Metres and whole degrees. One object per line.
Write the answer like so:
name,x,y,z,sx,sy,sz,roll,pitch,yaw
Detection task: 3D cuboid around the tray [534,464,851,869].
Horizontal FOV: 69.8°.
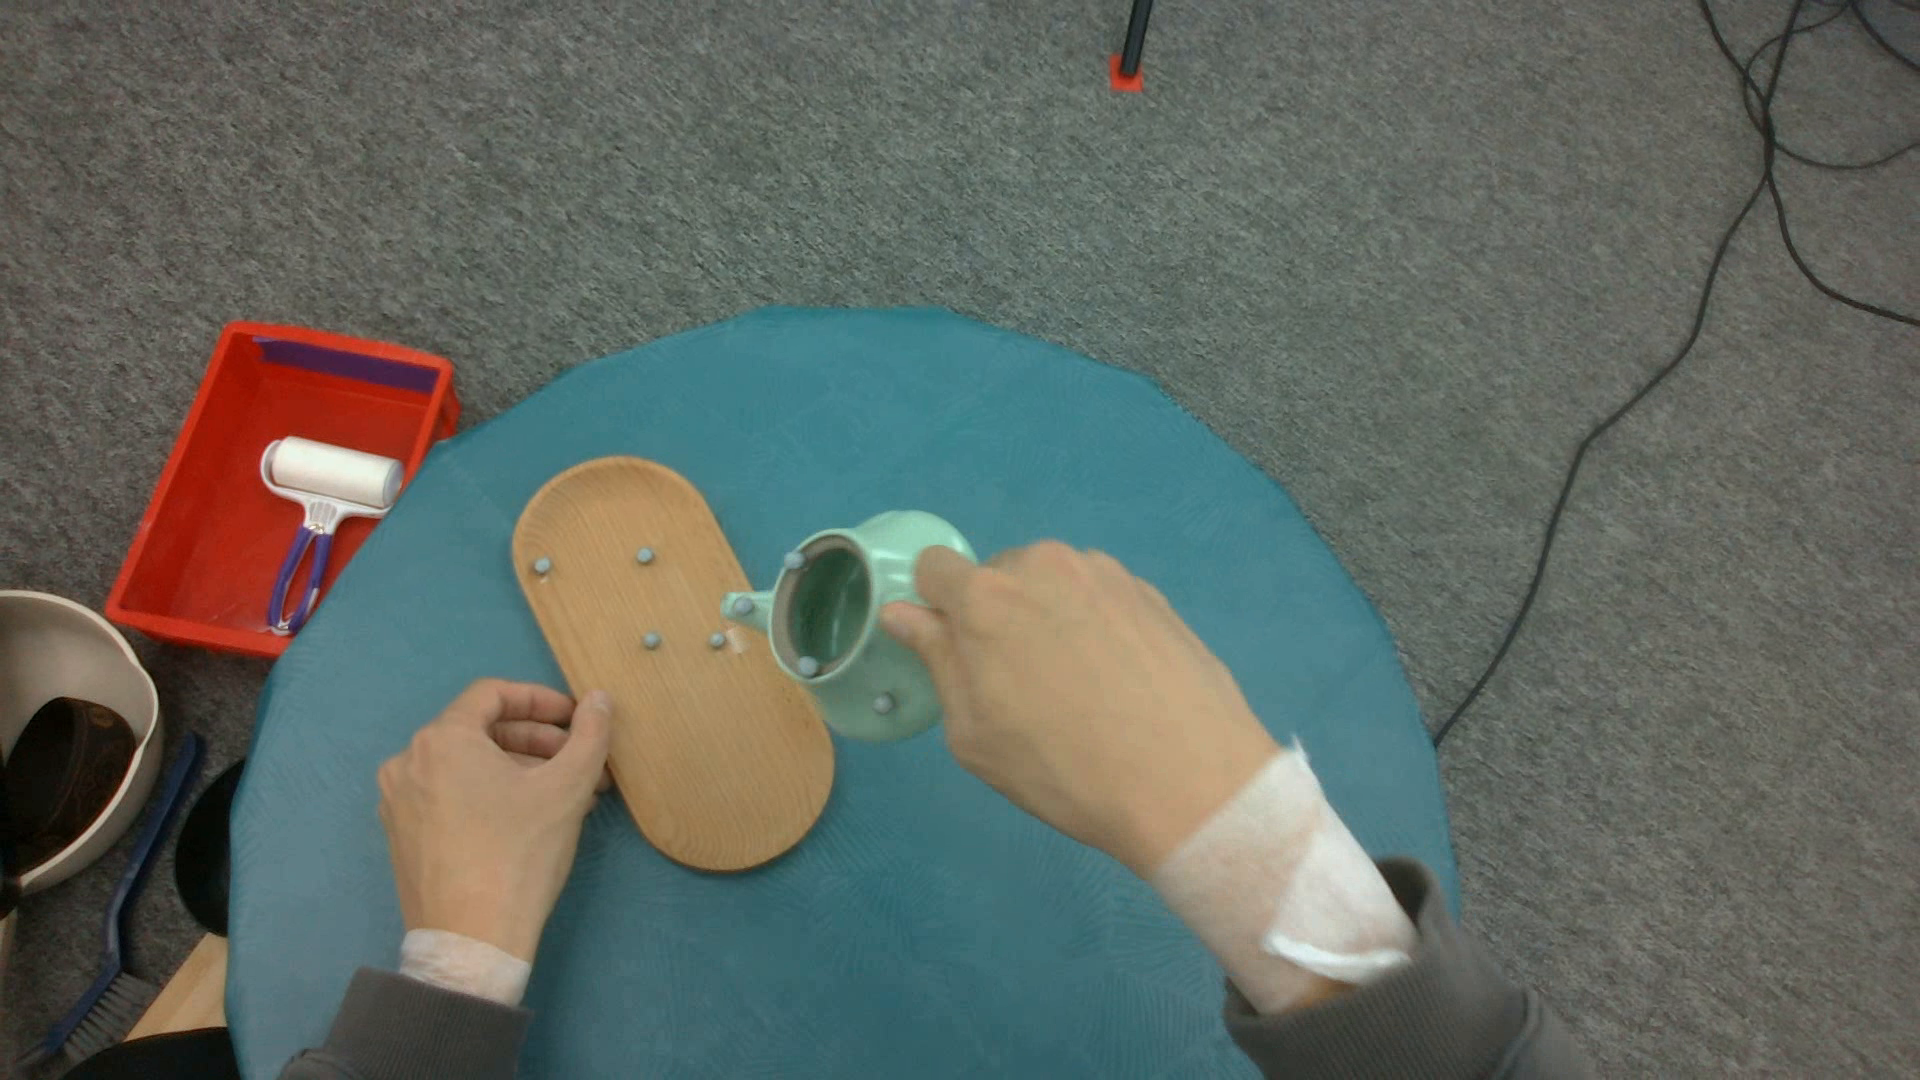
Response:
tray,-0.139,0.060,0.708,0.102,0.020,0.231,-26,73,-18

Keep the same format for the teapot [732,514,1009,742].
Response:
teapot,-0.029,0.032,0.560,0.061,0.136,0.096,22,70,-43
